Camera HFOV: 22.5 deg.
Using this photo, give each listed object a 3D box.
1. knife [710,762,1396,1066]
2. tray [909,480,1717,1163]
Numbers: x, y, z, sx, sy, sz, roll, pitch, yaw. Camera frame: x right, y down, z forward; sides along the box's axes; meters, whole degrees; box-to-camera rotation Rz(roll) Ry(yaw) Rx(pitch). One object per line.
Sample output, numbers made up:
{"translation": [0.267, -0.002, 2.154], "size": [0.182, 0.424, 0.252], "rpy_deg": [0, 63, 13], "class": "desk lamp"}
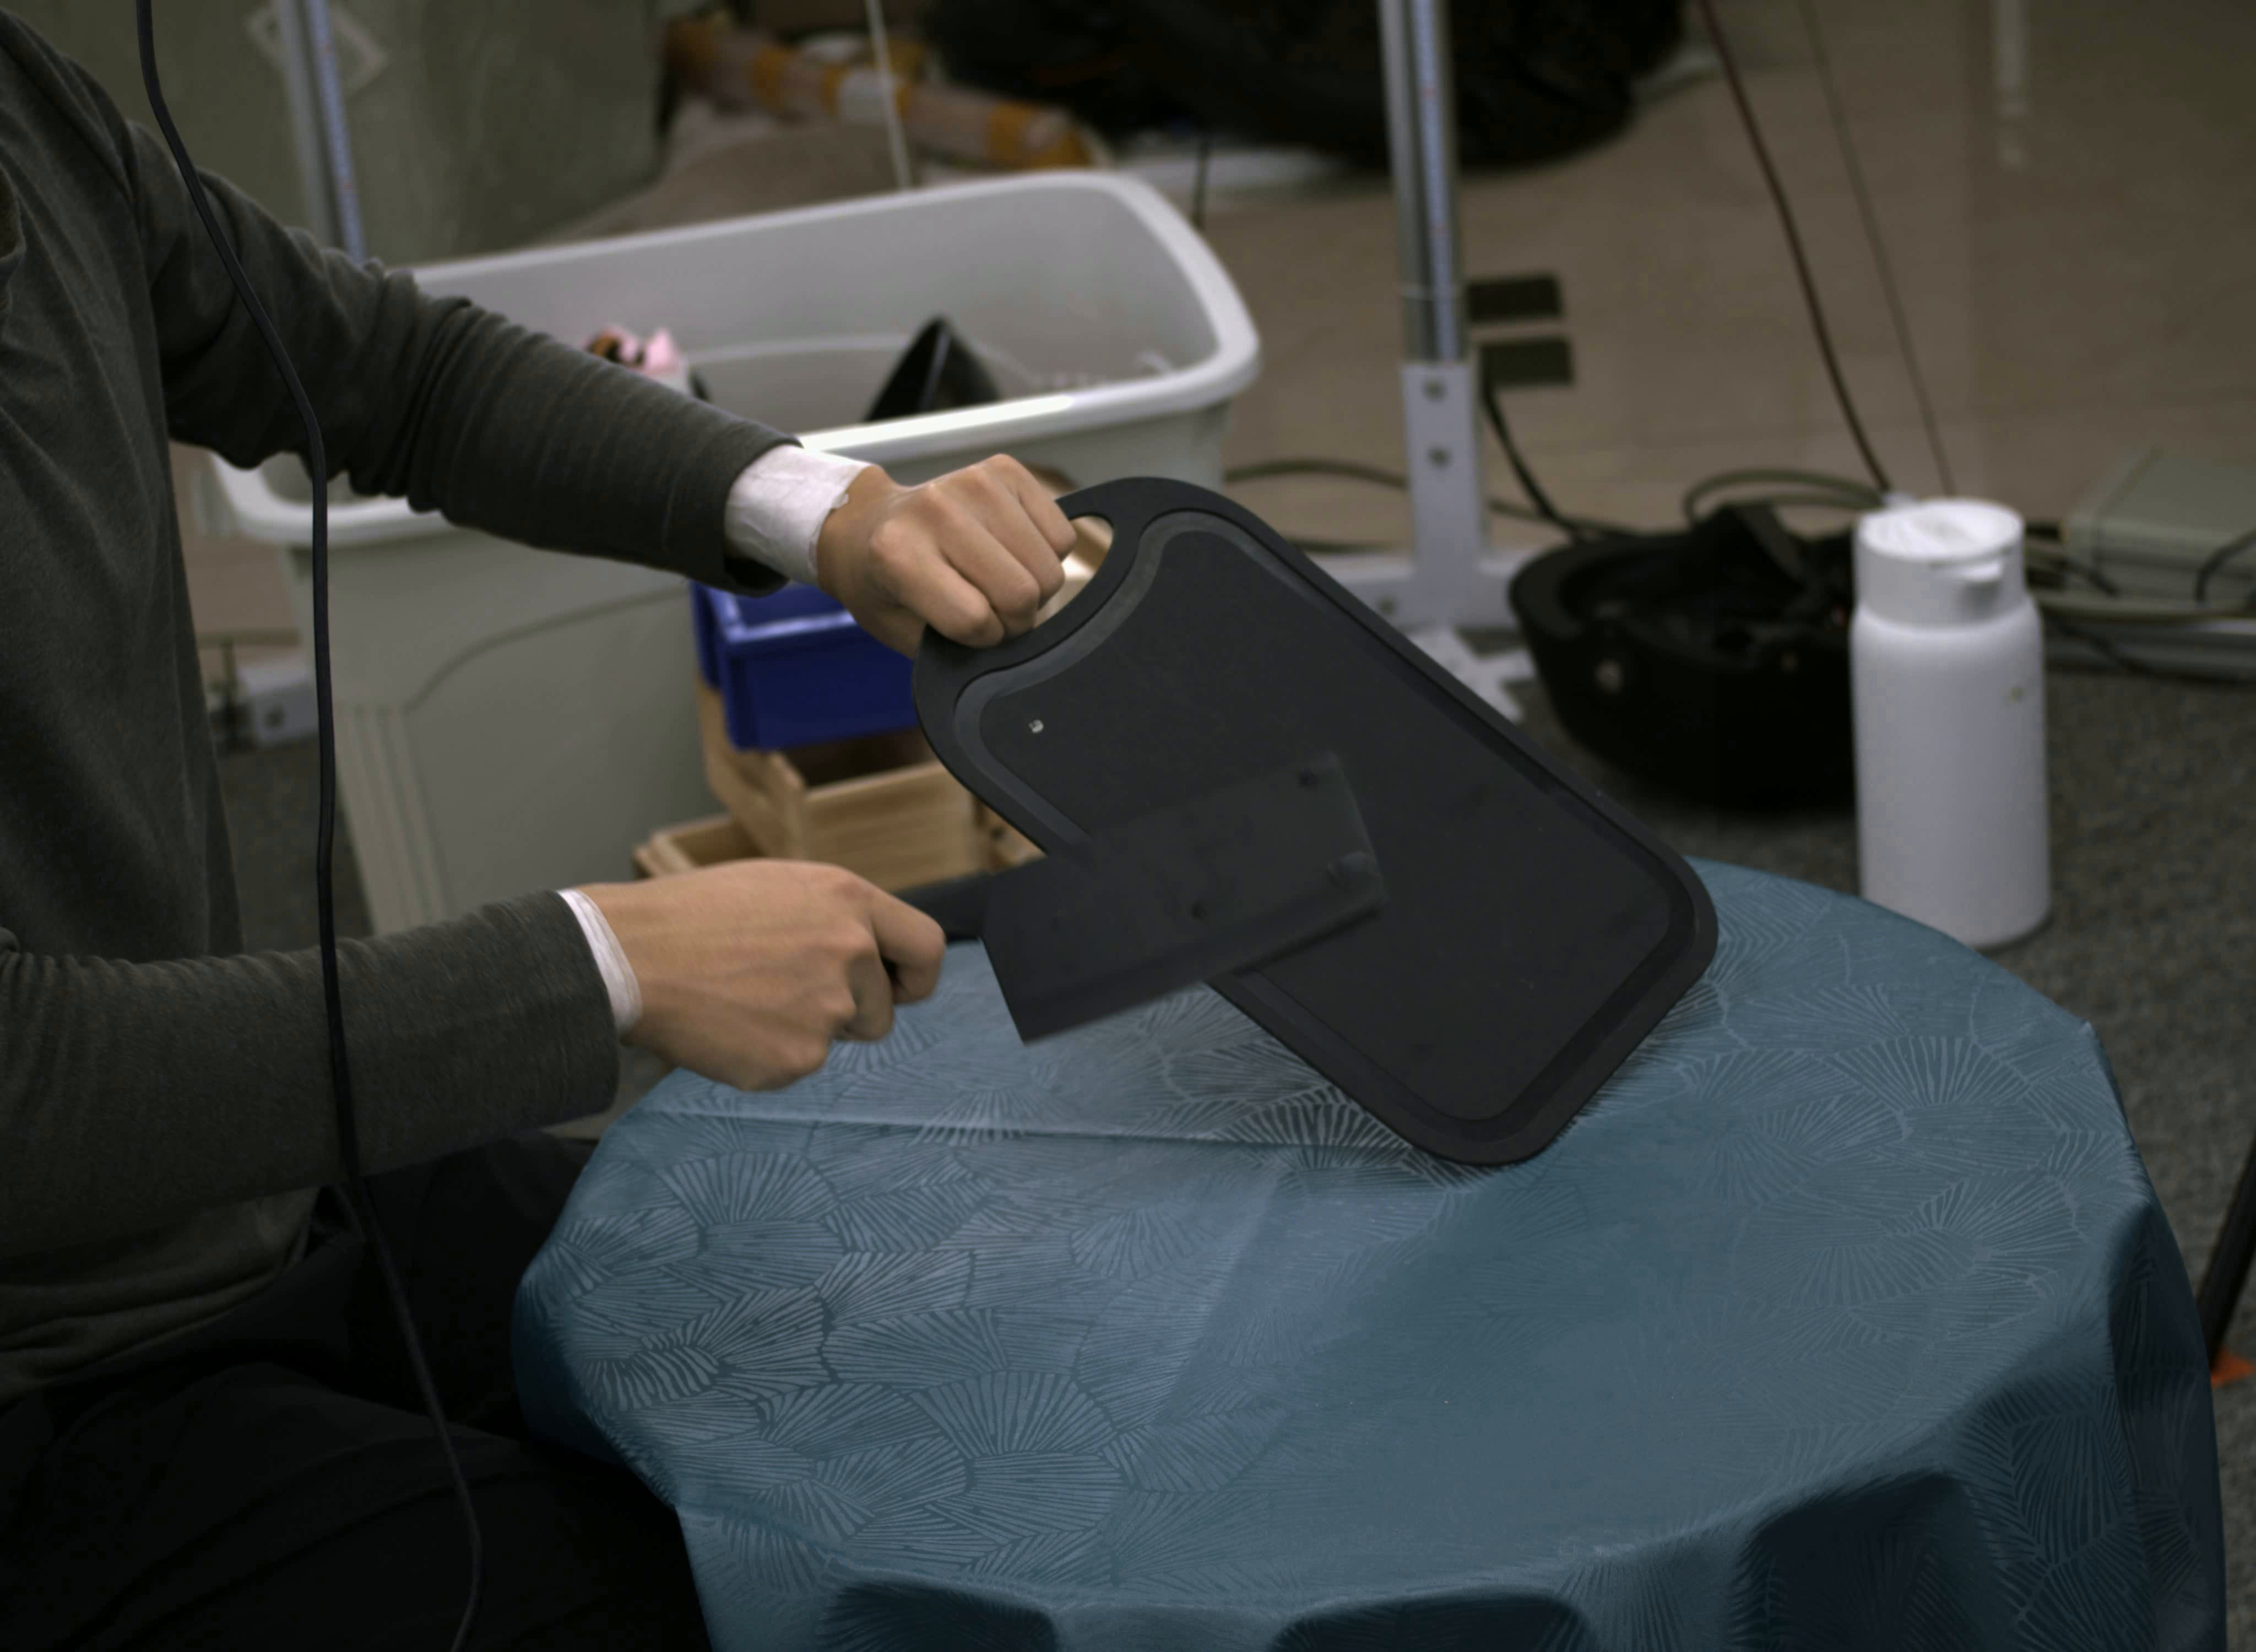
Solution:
{"translation": [-0.025, 0.042, 2.109], "size": [0.301, 0.081, 0.021], "rpy_deg": [-14, -5, -32], "class": "knife"}
{"translation": [0.068, -0.011, 2.210], "size": [0.324, 0.010, 0.208], "rpy_deg": [40, 49, 9], "class": "tray"}
